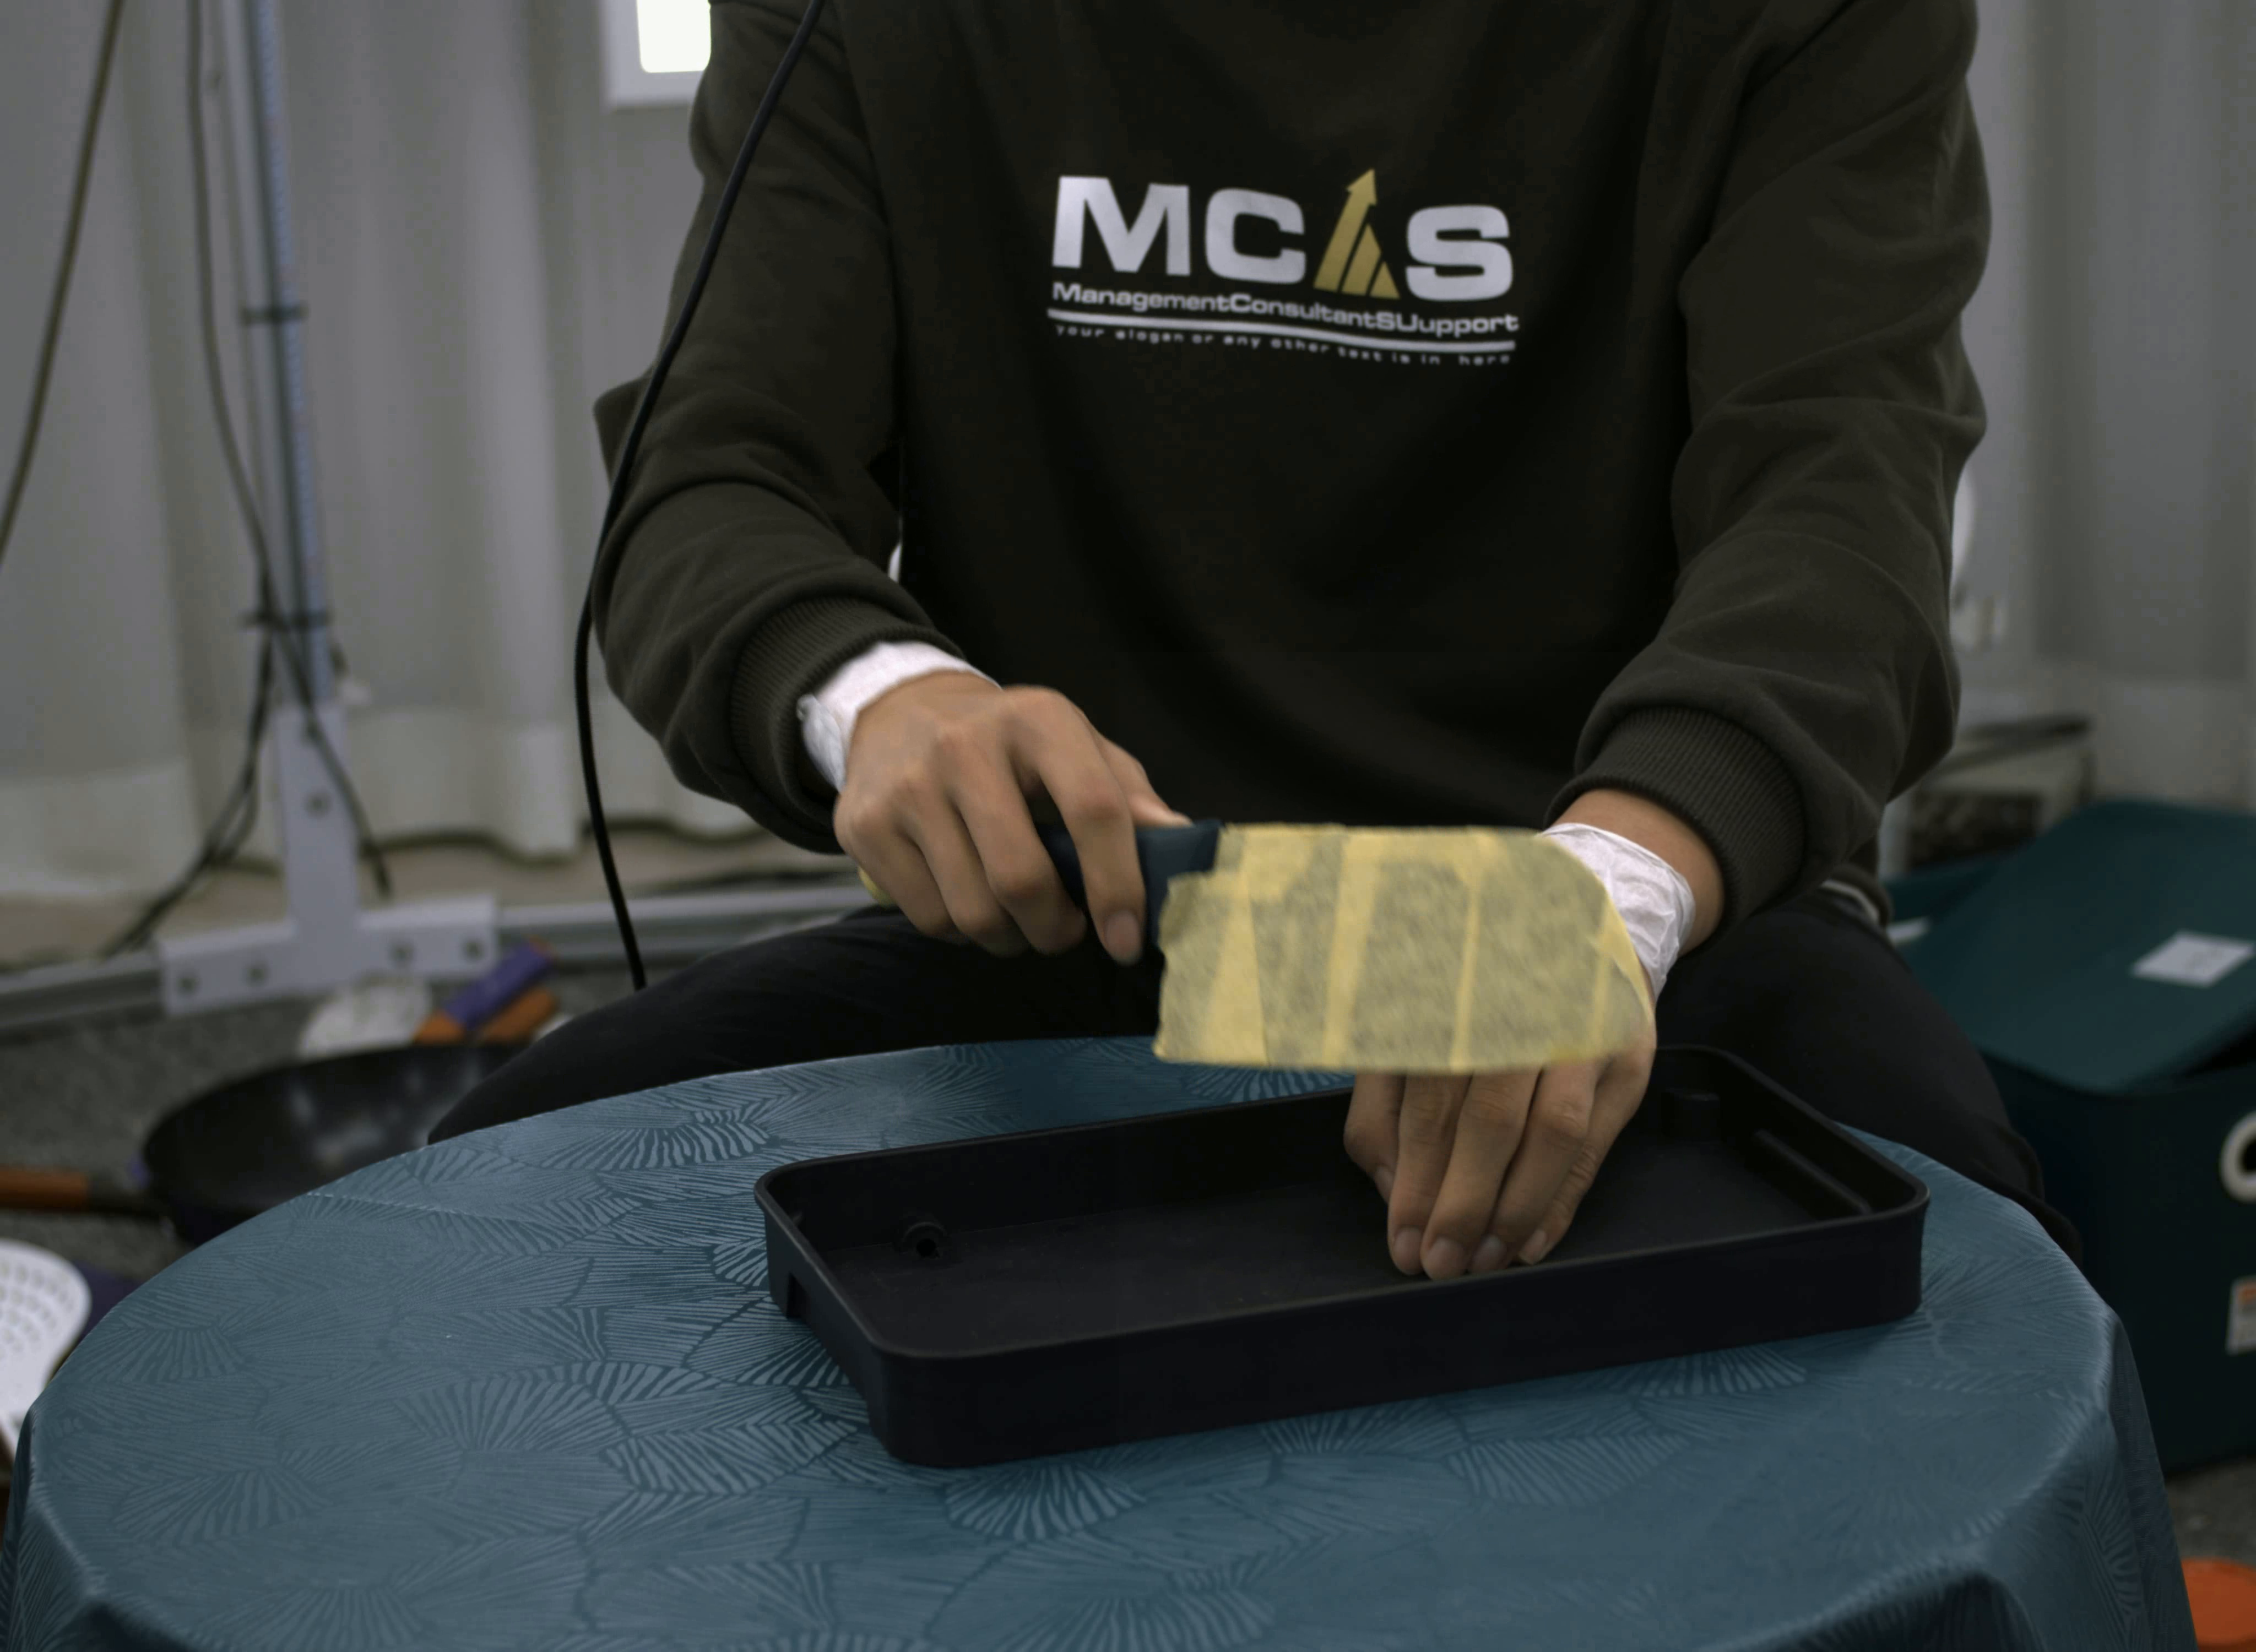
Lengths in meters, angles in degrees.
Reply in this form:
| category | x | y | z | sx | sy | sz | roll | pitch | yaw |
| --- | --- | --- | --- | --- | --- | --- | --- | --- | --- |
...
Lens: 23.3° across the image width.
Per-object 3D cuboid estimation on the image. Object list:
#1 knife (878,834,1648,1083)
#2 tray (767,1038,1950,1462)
| category | x | y | z | sx | sy | sz | roll | pitch | yaw |
| --- | --- | --- | --- | --- | --- | --- | --- | --- | --- |
| knife | 0.036 | 0.037 | 1.646 | 0.290 | 0.081 | 0.027 | 4 | -13 | 39 |
| tray | 0.066 | 0.121 | 1.610 | 0.316 | 0.037 | 0.186 | -7 | 15 | -17 |
